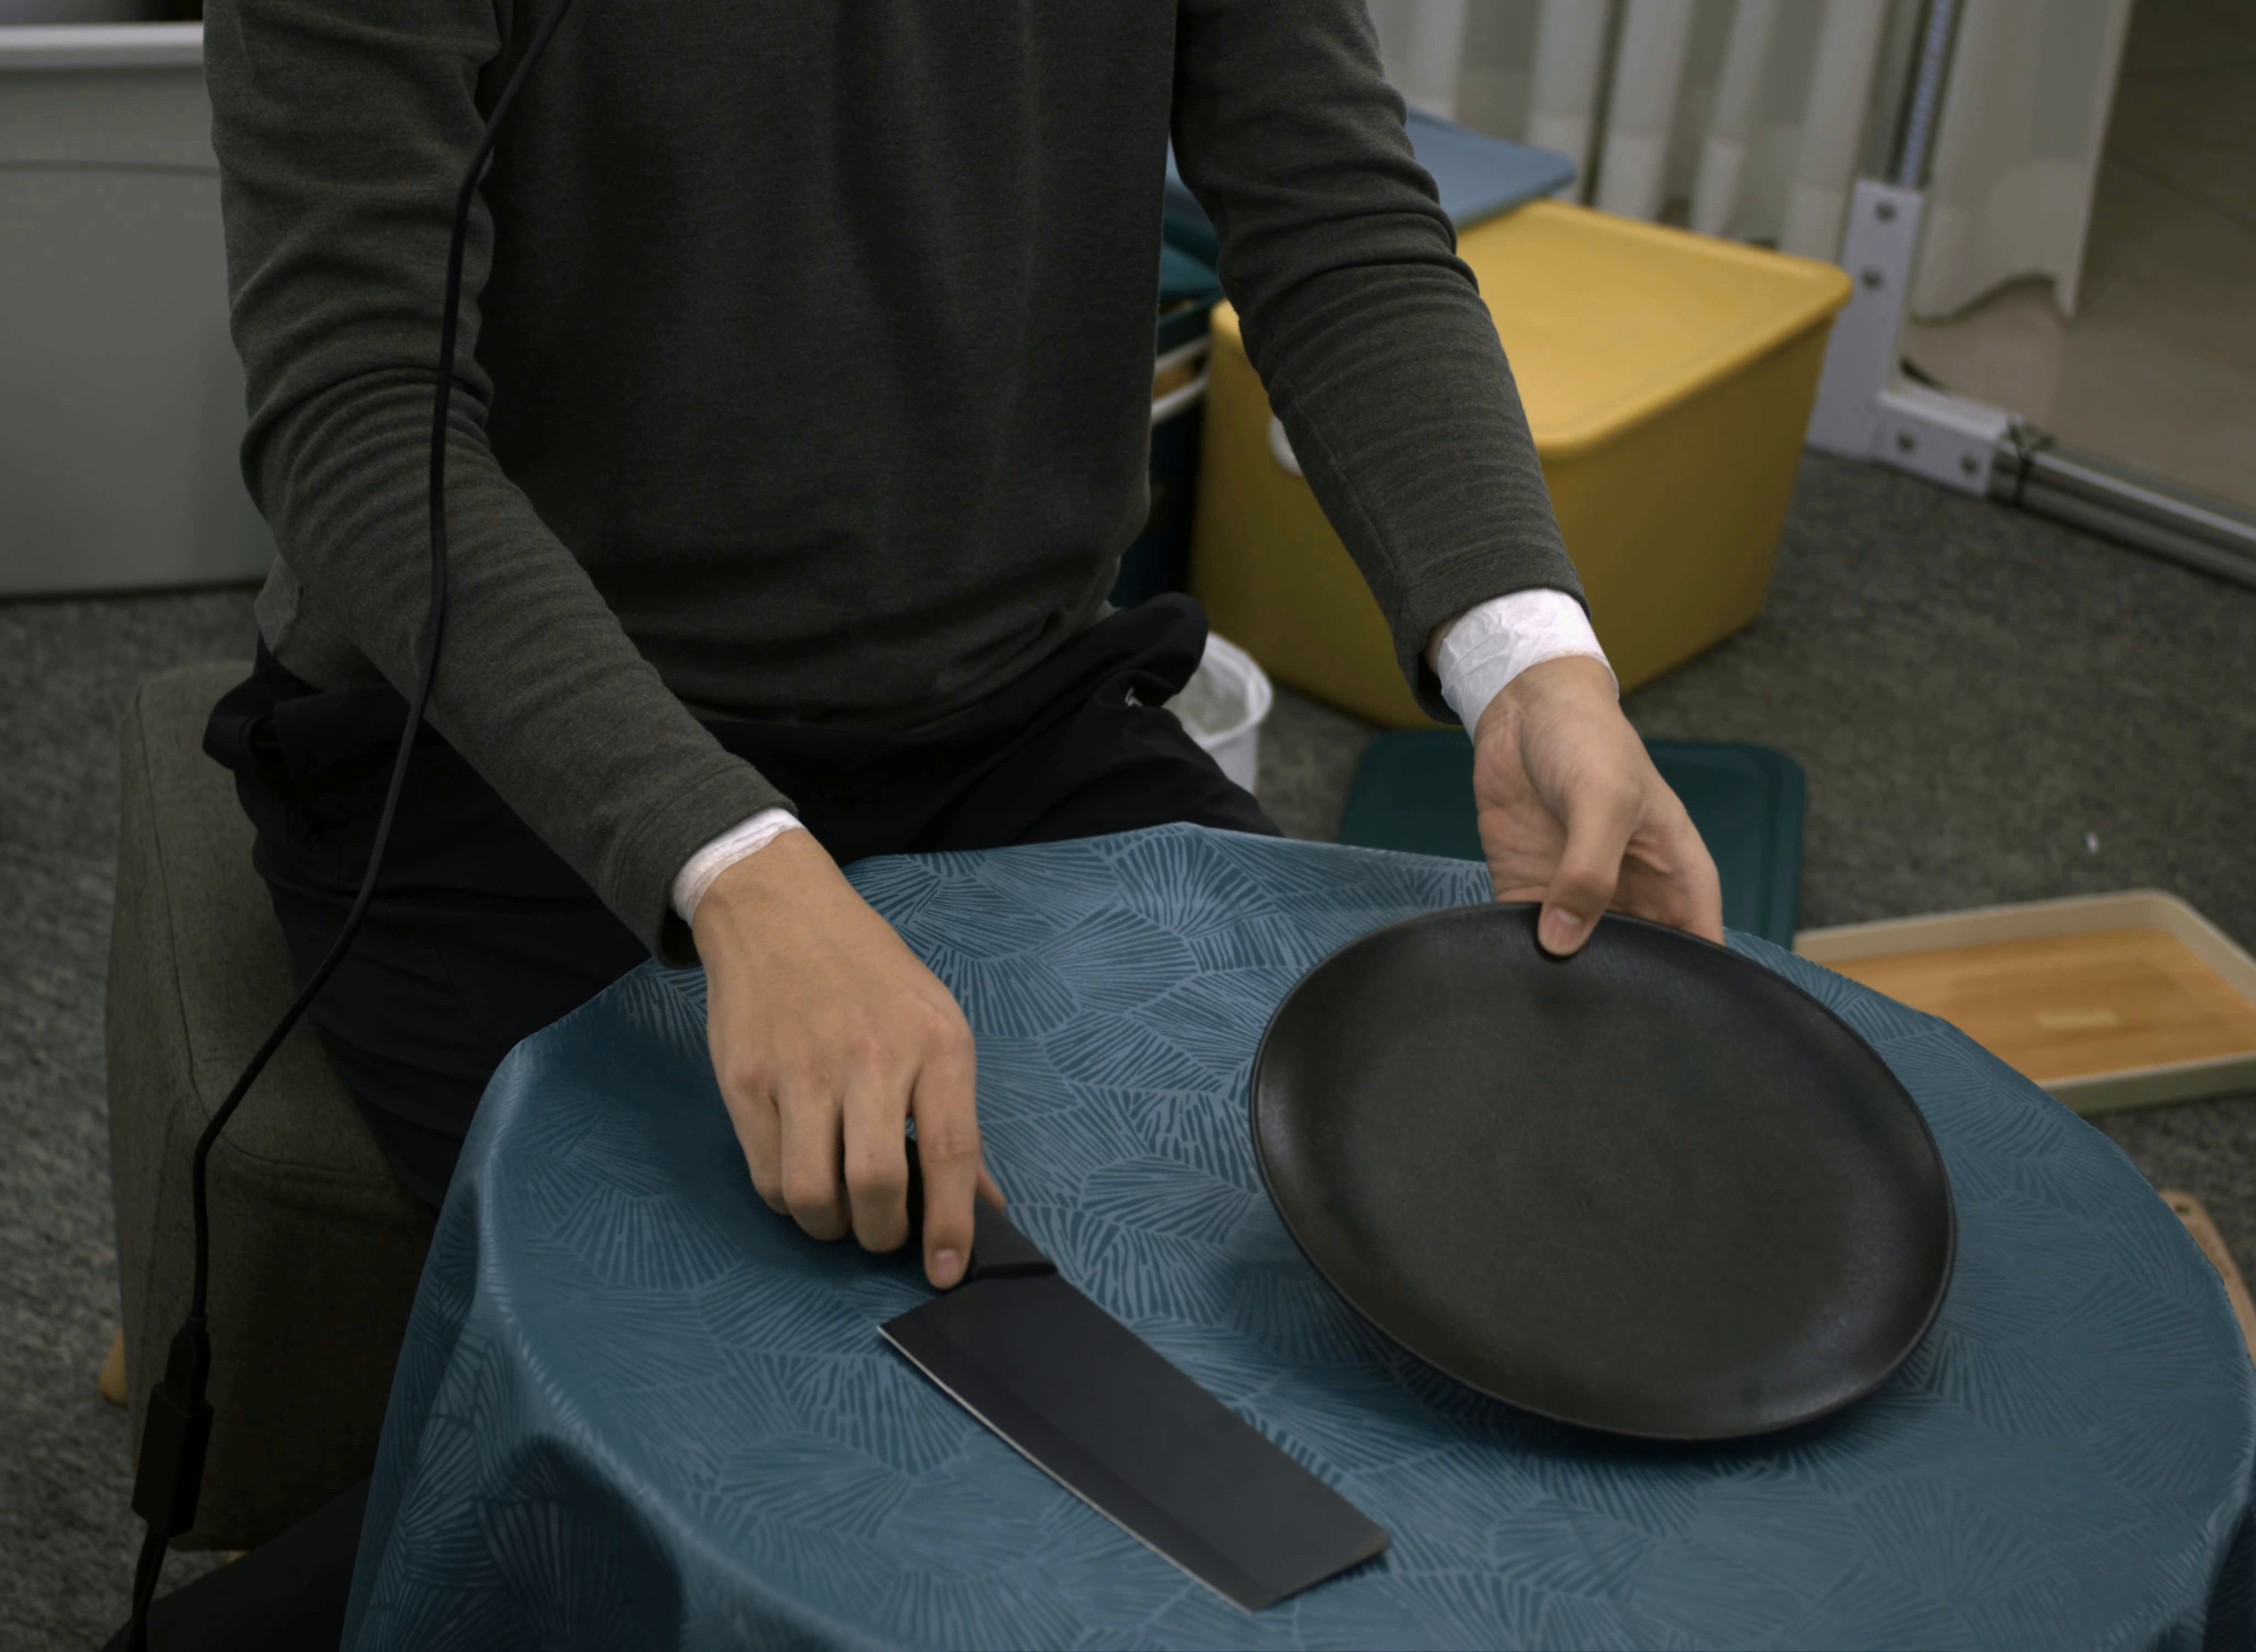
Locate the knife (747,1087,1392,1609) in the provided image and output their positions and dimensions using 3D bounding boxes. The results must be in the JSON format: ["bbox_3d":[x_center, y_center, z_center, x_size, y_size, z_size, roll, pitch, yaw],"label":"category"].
[{"bbox_3d":[-0.033,0.163,1.706,0.080,0.021,0.305,-16,36,-31],"label":"knife"}]

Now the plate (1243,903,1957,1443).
[{"bbox_3d":[0.156,0.118,1.774,0.243,0.023,0.246,7,42,-7],"label":"plate"}]
